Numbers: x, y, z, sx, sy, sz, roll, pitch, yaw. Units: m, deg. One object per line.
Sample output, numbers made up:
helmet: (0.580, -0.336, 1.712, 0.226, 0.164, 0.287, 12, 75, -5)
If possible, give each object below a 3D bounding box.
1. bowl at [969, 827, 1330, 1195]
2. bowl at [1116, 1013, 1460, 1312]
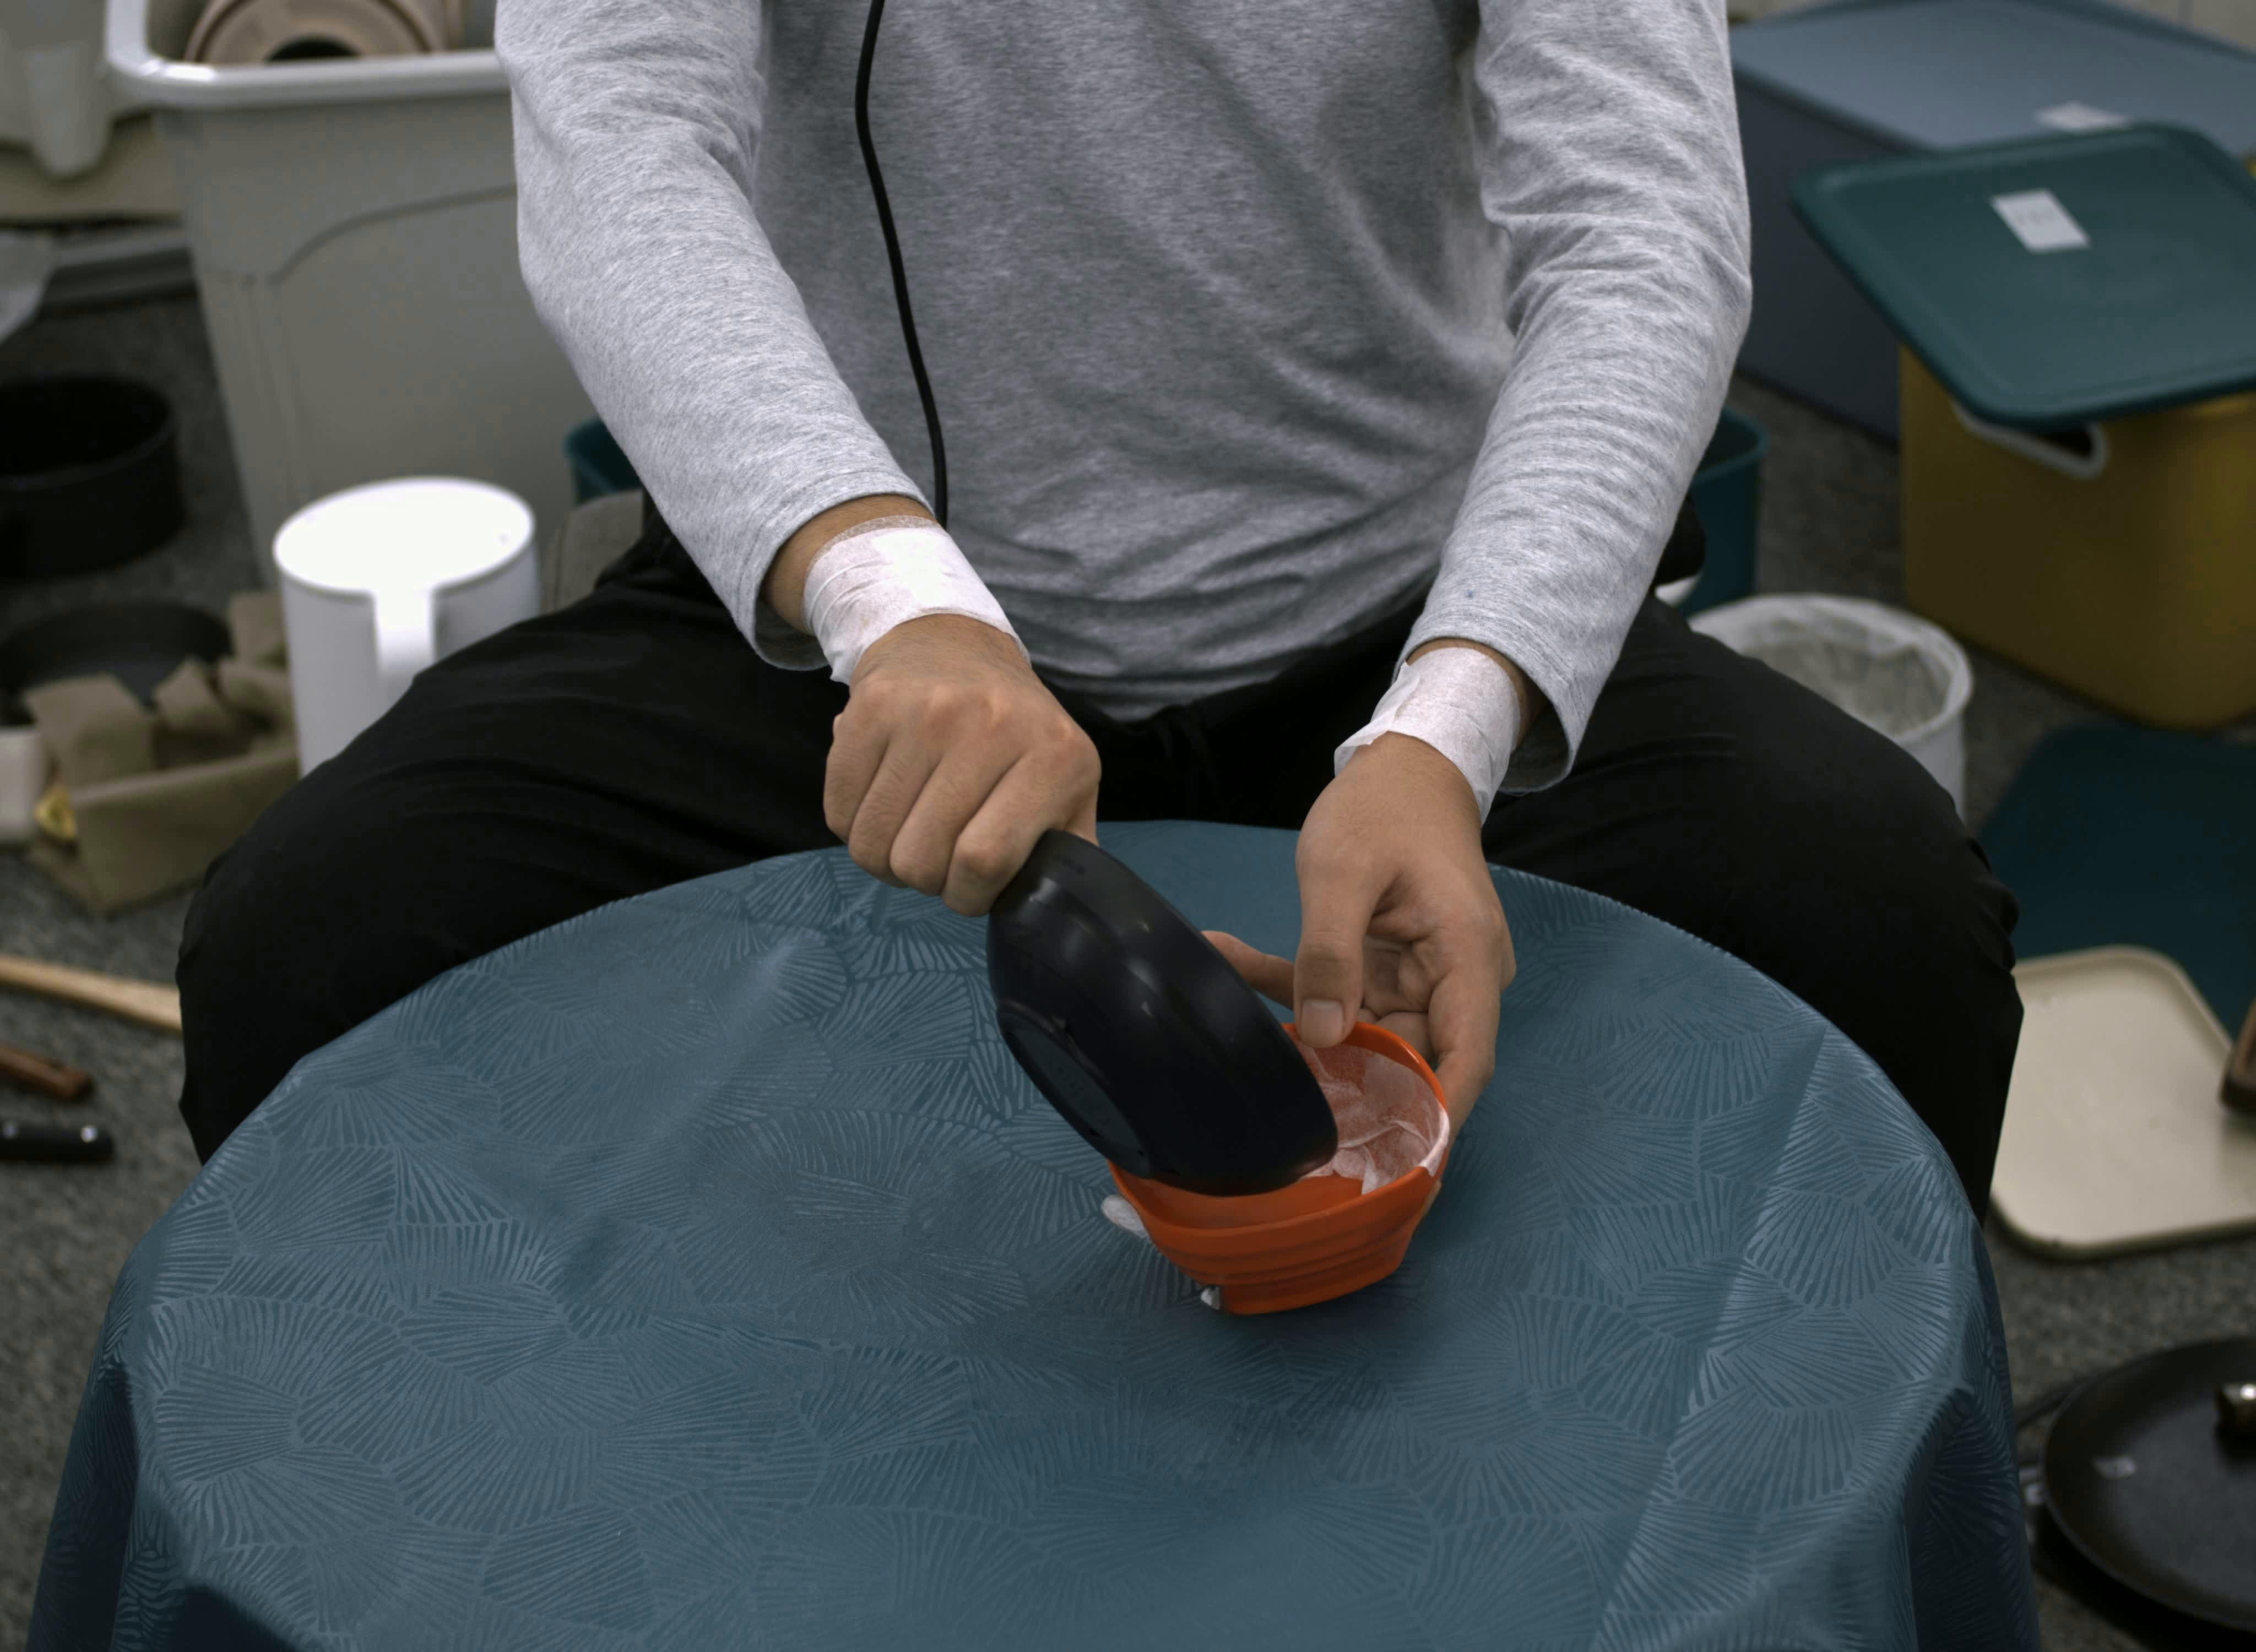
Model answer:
bowl: (-0.003, 0.068, 1.754, 0.050, 0.138, 0.140, -44, 43, -19)
bowl: (0.053, 0.114, 1.806, 0.118, 0.051, 0.121, -6, 32, 4)
